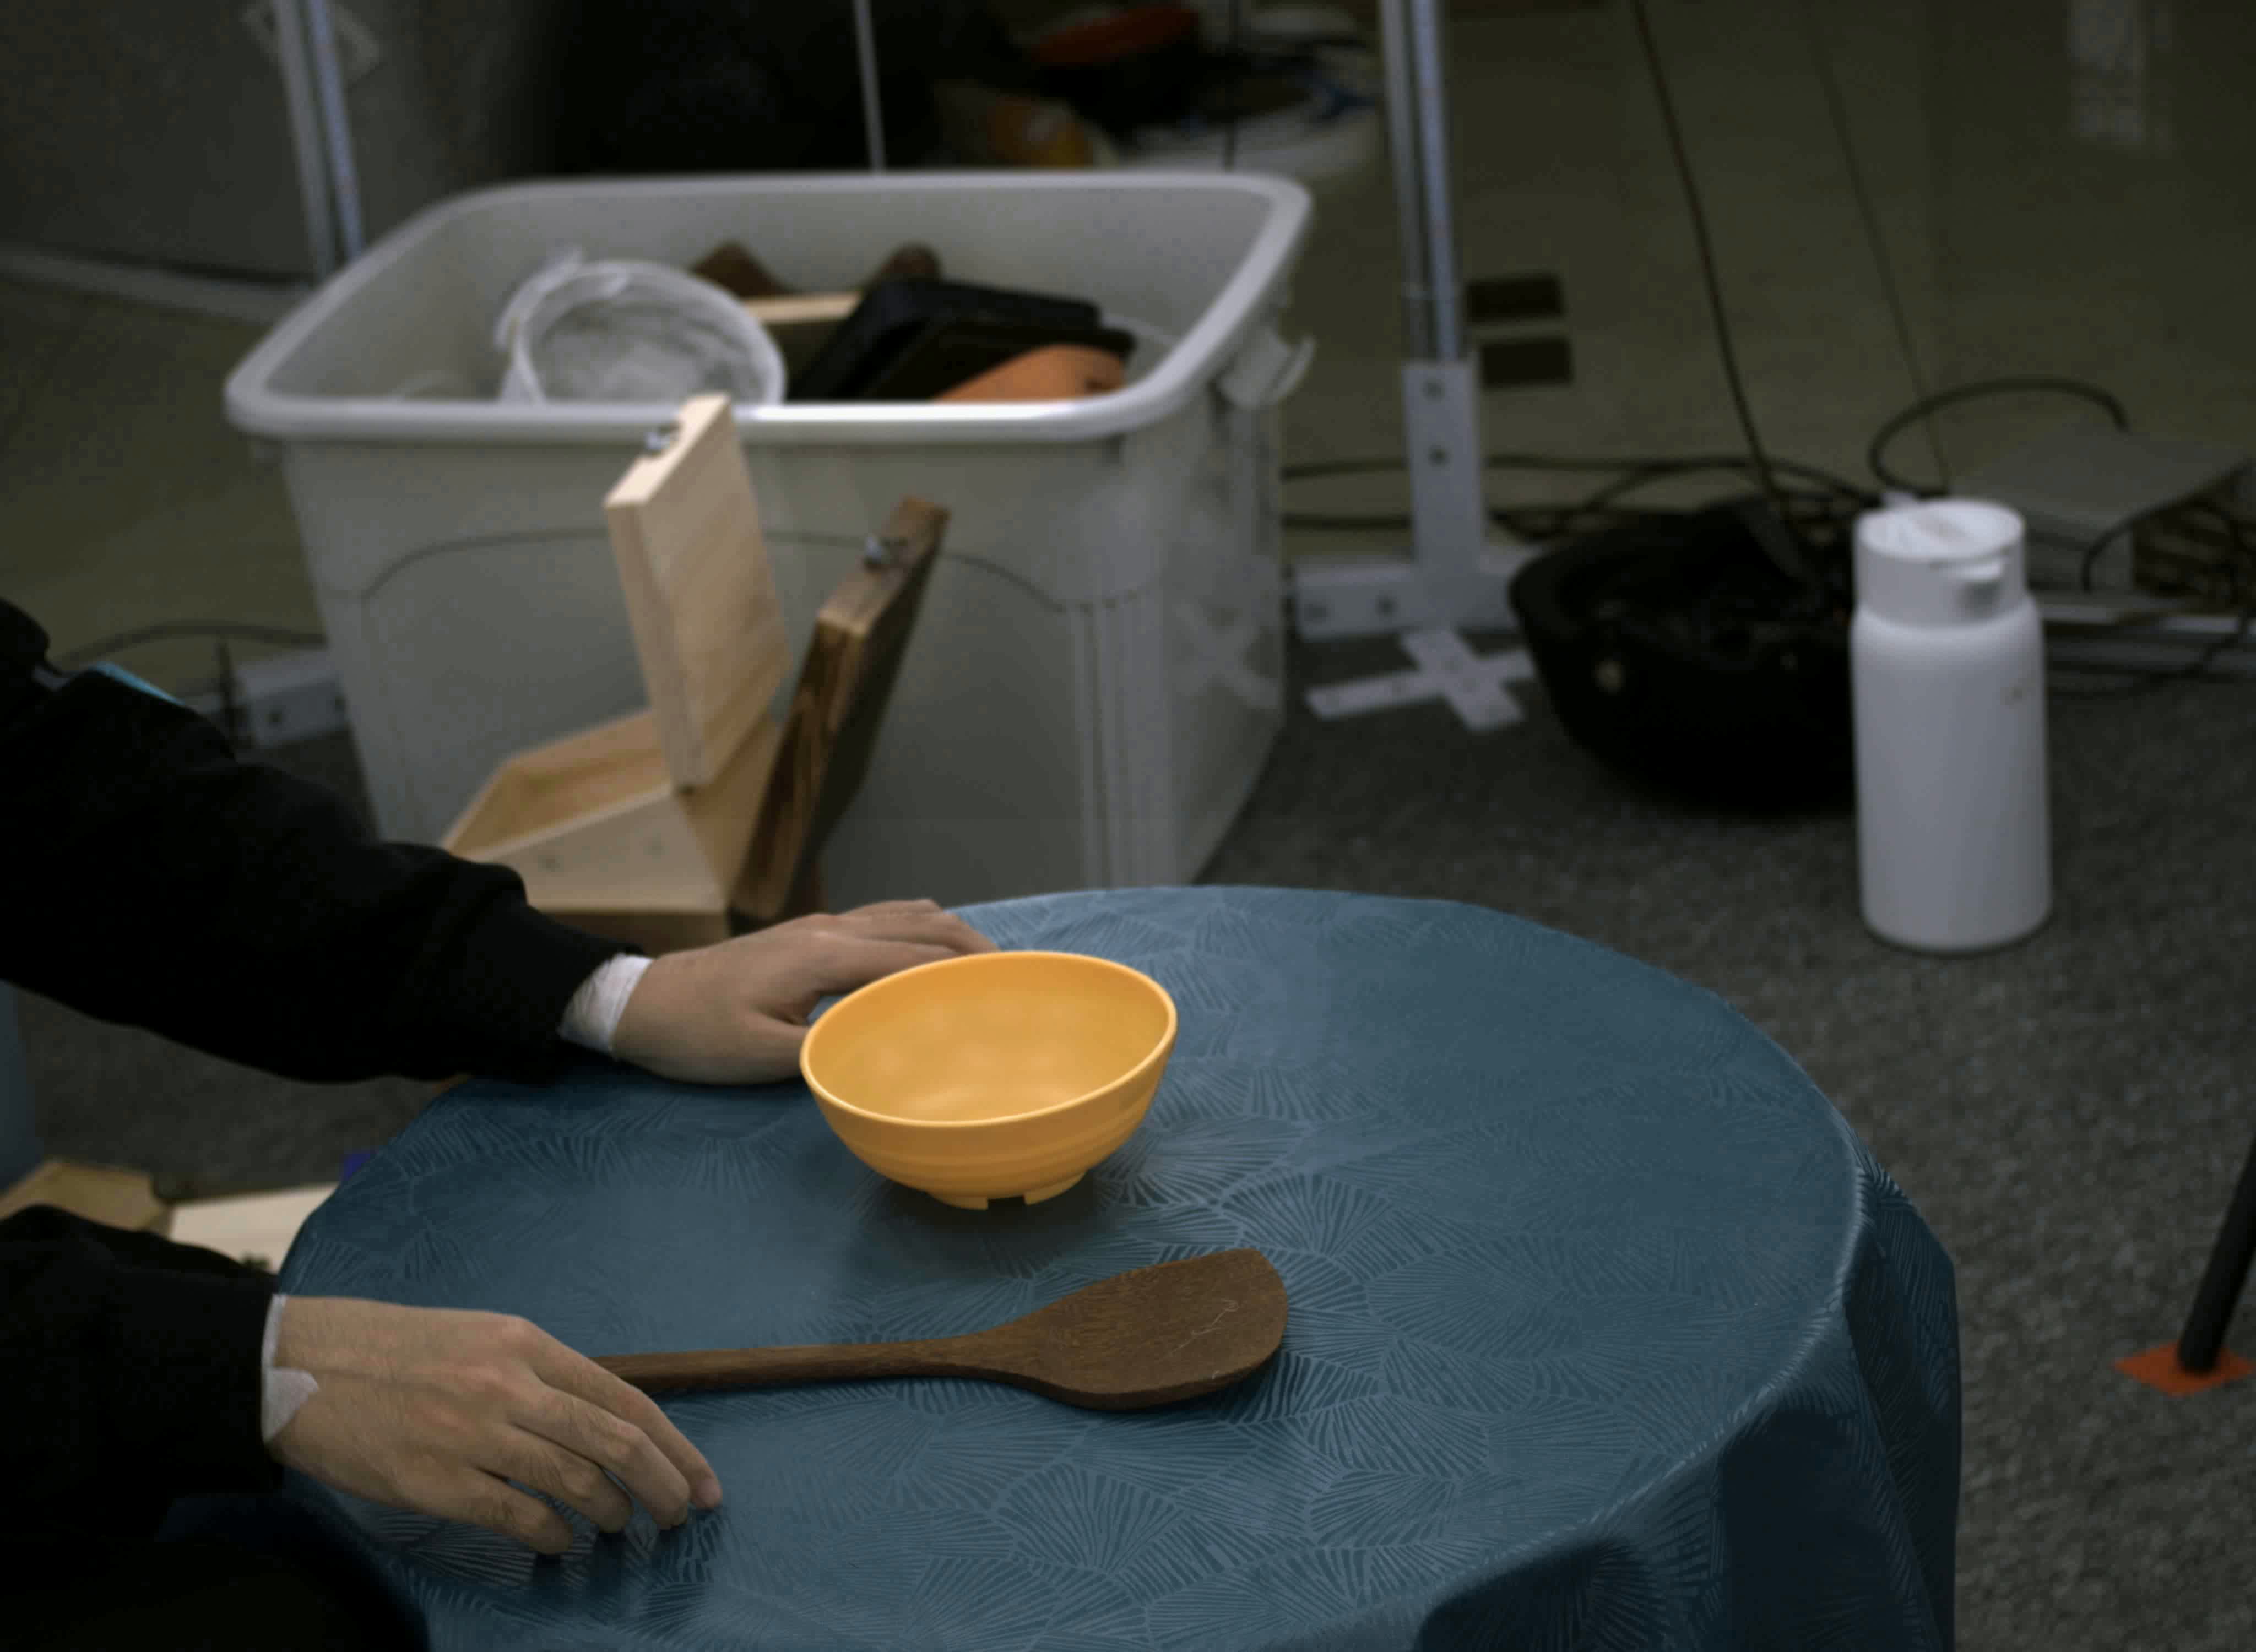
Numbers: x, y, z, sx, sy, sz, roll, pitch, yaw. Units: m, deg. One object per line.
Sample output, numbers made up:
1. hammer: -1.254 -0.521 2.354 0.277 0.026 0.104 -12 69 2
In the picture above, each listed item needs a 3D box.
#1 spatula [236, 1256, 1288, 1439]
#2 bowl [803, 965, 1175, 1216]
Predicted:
1. spatula: -0.134 0.195 2.049 0.385 0.016 0.095 -5 25 4
2. bowl: -0.049 0.108 2.165 0.145 0.061 0.143 -7 23 3
